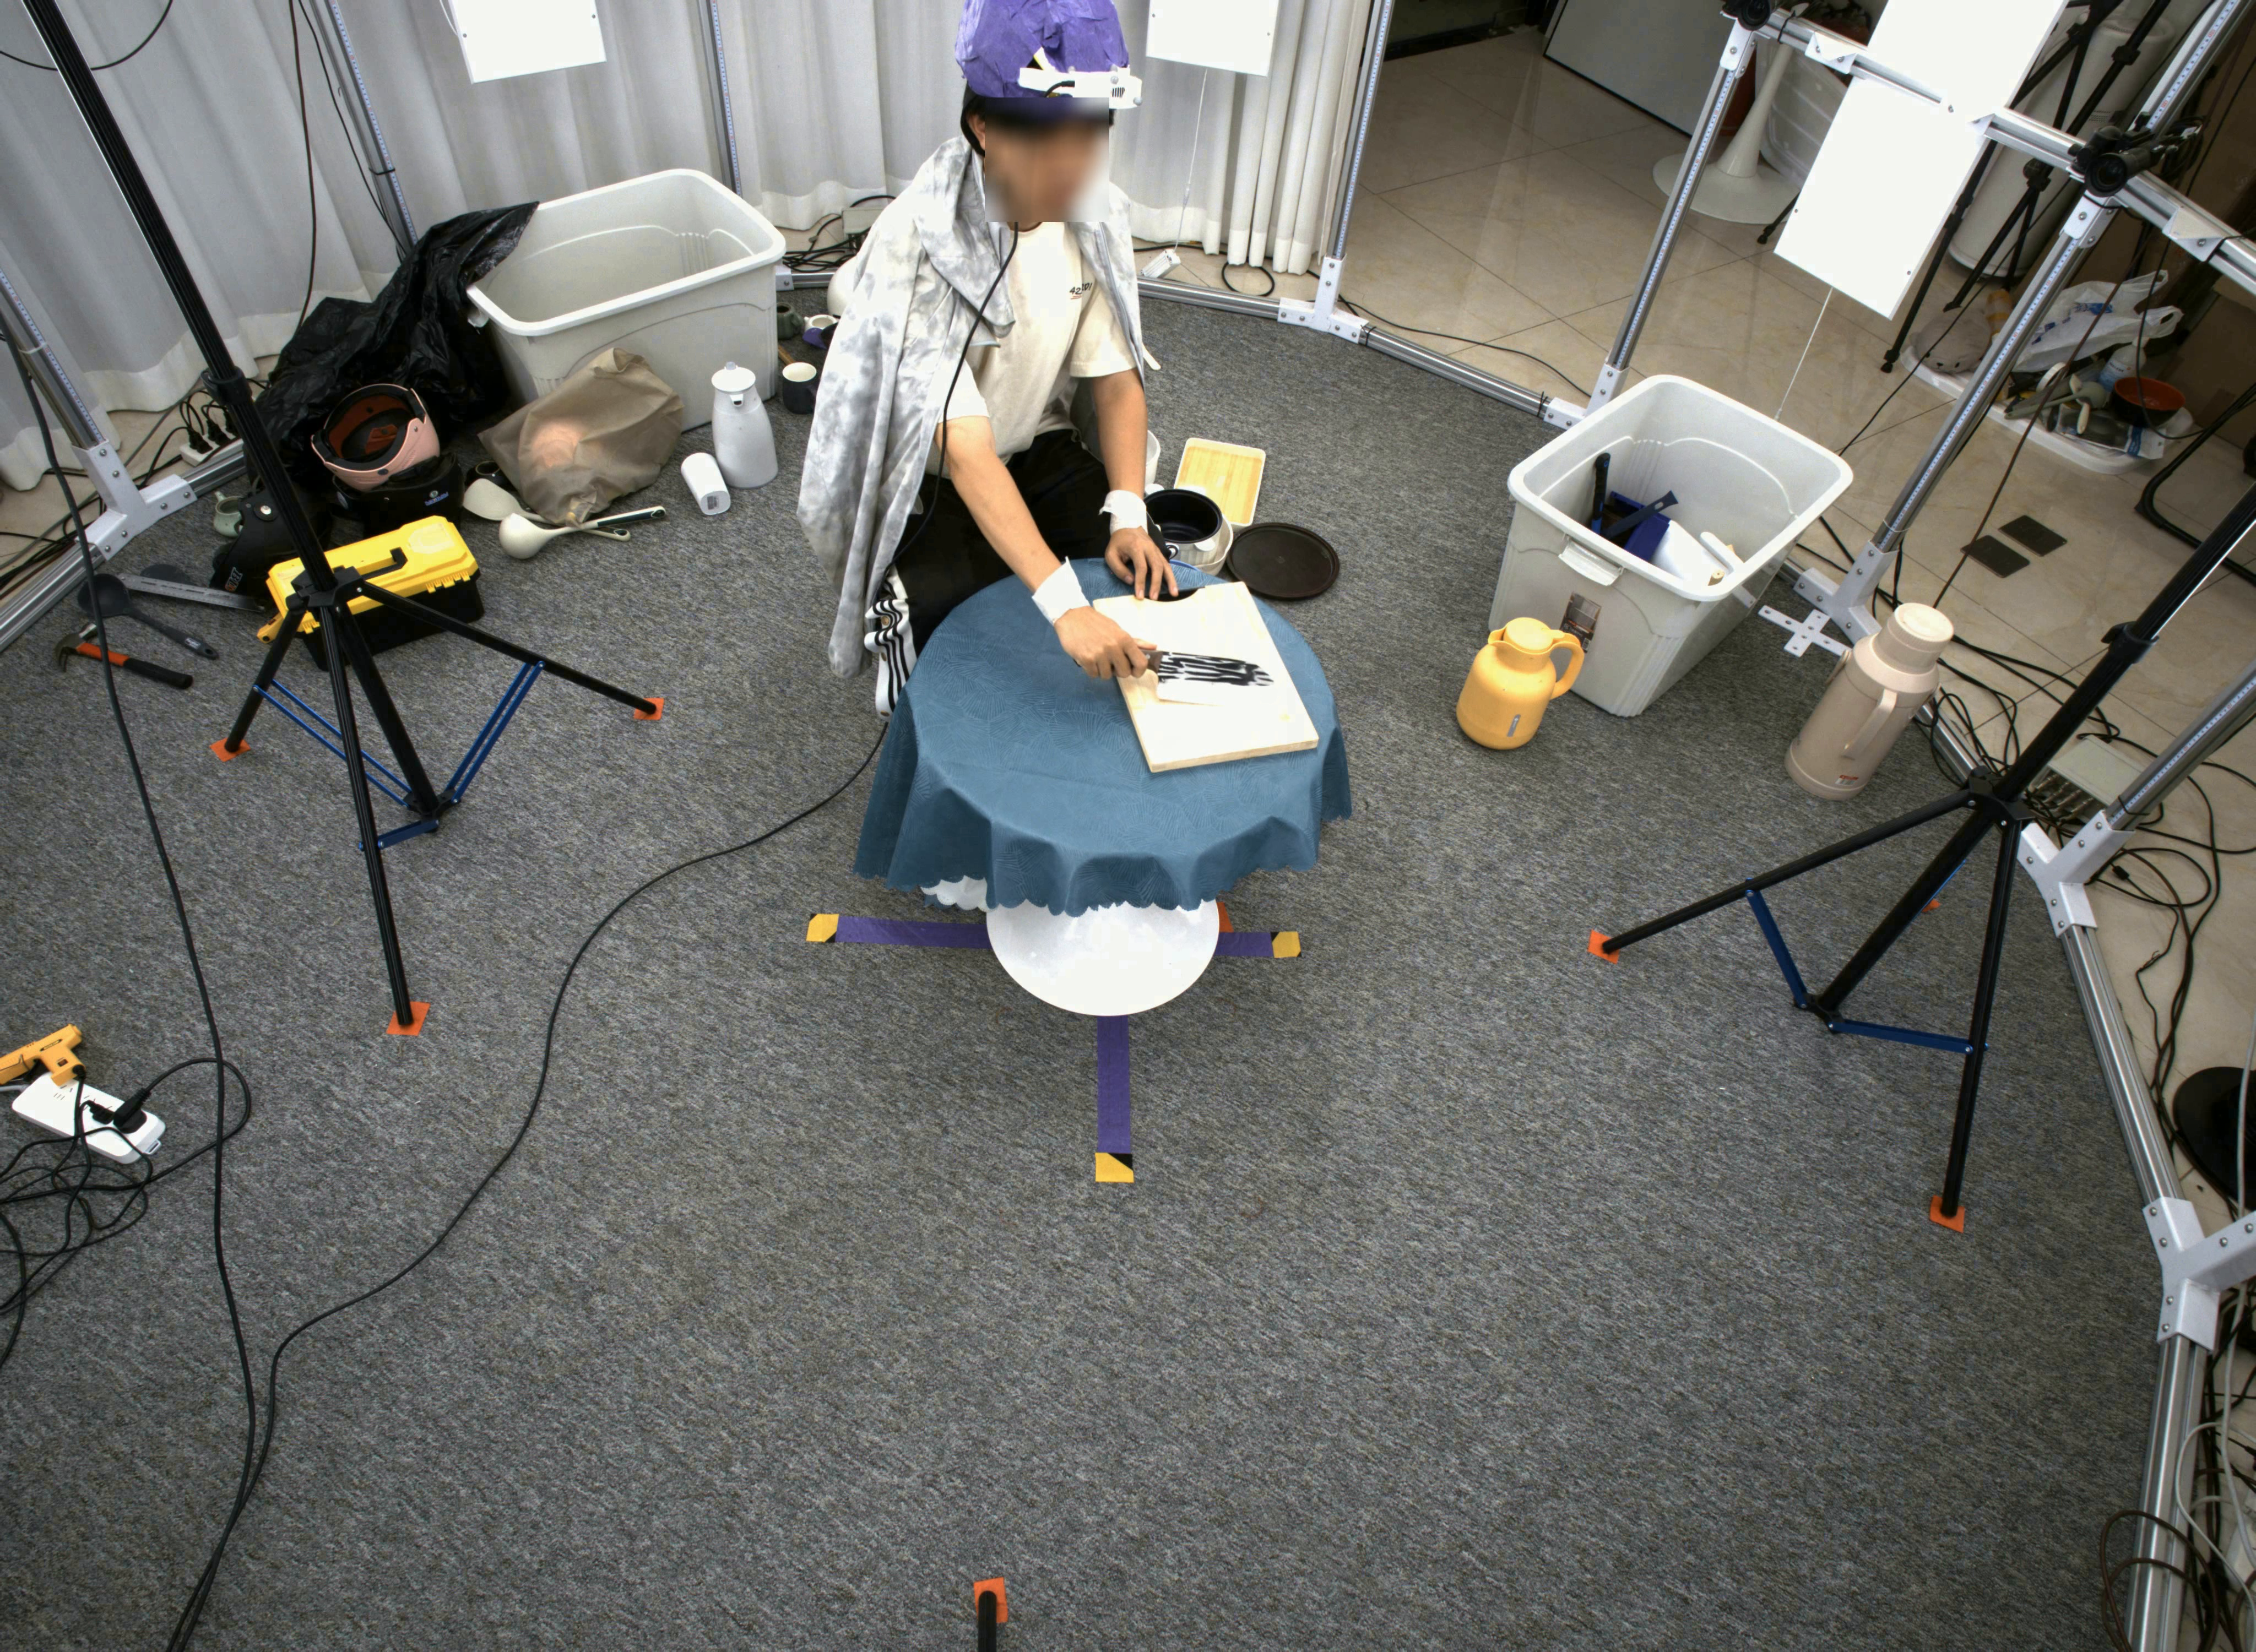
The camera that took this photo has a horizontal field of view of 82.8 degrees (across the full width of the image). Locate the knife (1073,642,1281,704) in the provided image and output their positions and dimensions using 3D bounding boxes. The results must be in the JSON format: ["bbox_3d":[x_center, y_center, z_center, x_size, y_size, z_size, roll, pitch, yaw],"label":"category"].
[{"bbox_3d":[0.069,-0.212,1.789,0.299,0.024,0.068,6,84,-6],"label":"knife"}]

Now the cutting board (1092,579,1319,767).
[{"bbox_3d":[0.104,-0.228,1.856,0.250,0.023,0.357,-10,50,-12],"label":"cutting board"}]
